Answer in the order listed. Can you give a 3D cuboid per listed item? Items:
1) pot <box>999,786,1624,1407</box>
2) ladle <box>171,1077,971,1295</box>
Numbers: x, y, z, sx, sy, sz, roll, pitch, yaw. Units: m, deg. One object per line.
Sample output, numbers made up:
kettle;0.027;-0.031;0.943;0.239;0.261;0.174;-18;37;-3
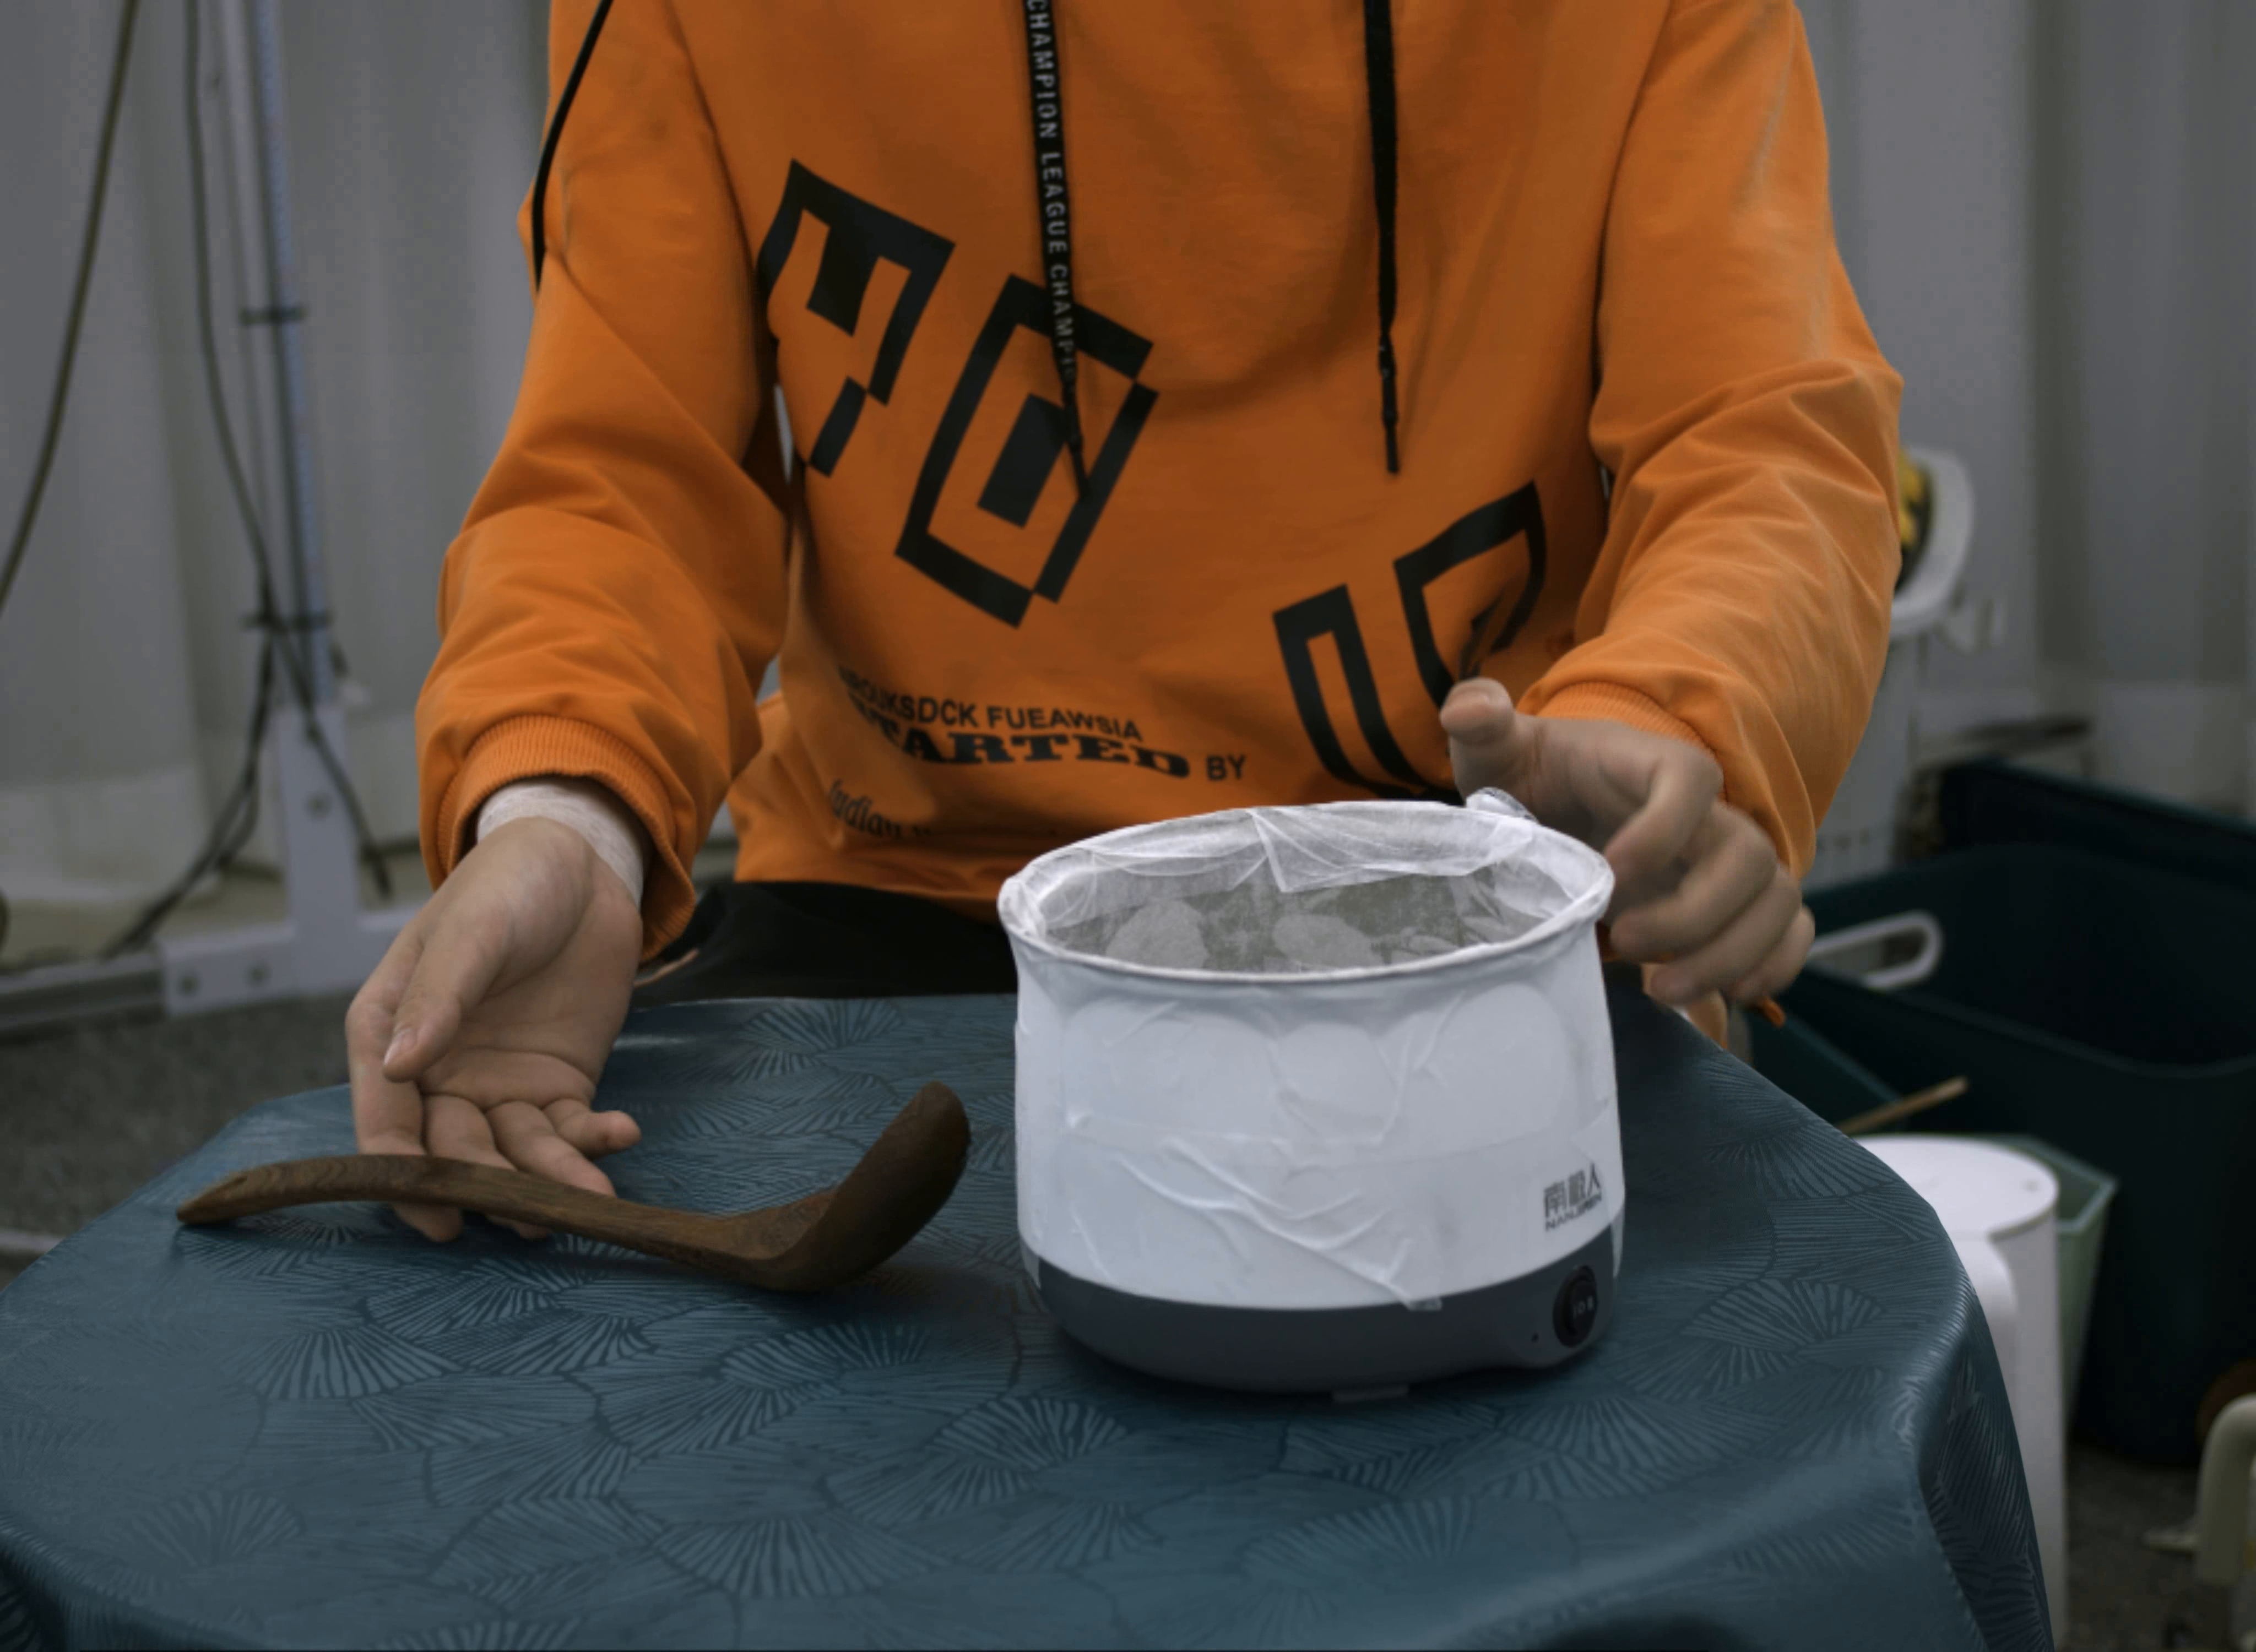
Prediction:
pot;0.070;0.071;1.600;0.179;0.136;0.234;8;18;34
ladle;-0.175;0.098;1.671;0.274;0.071;0.076;6;19;24
